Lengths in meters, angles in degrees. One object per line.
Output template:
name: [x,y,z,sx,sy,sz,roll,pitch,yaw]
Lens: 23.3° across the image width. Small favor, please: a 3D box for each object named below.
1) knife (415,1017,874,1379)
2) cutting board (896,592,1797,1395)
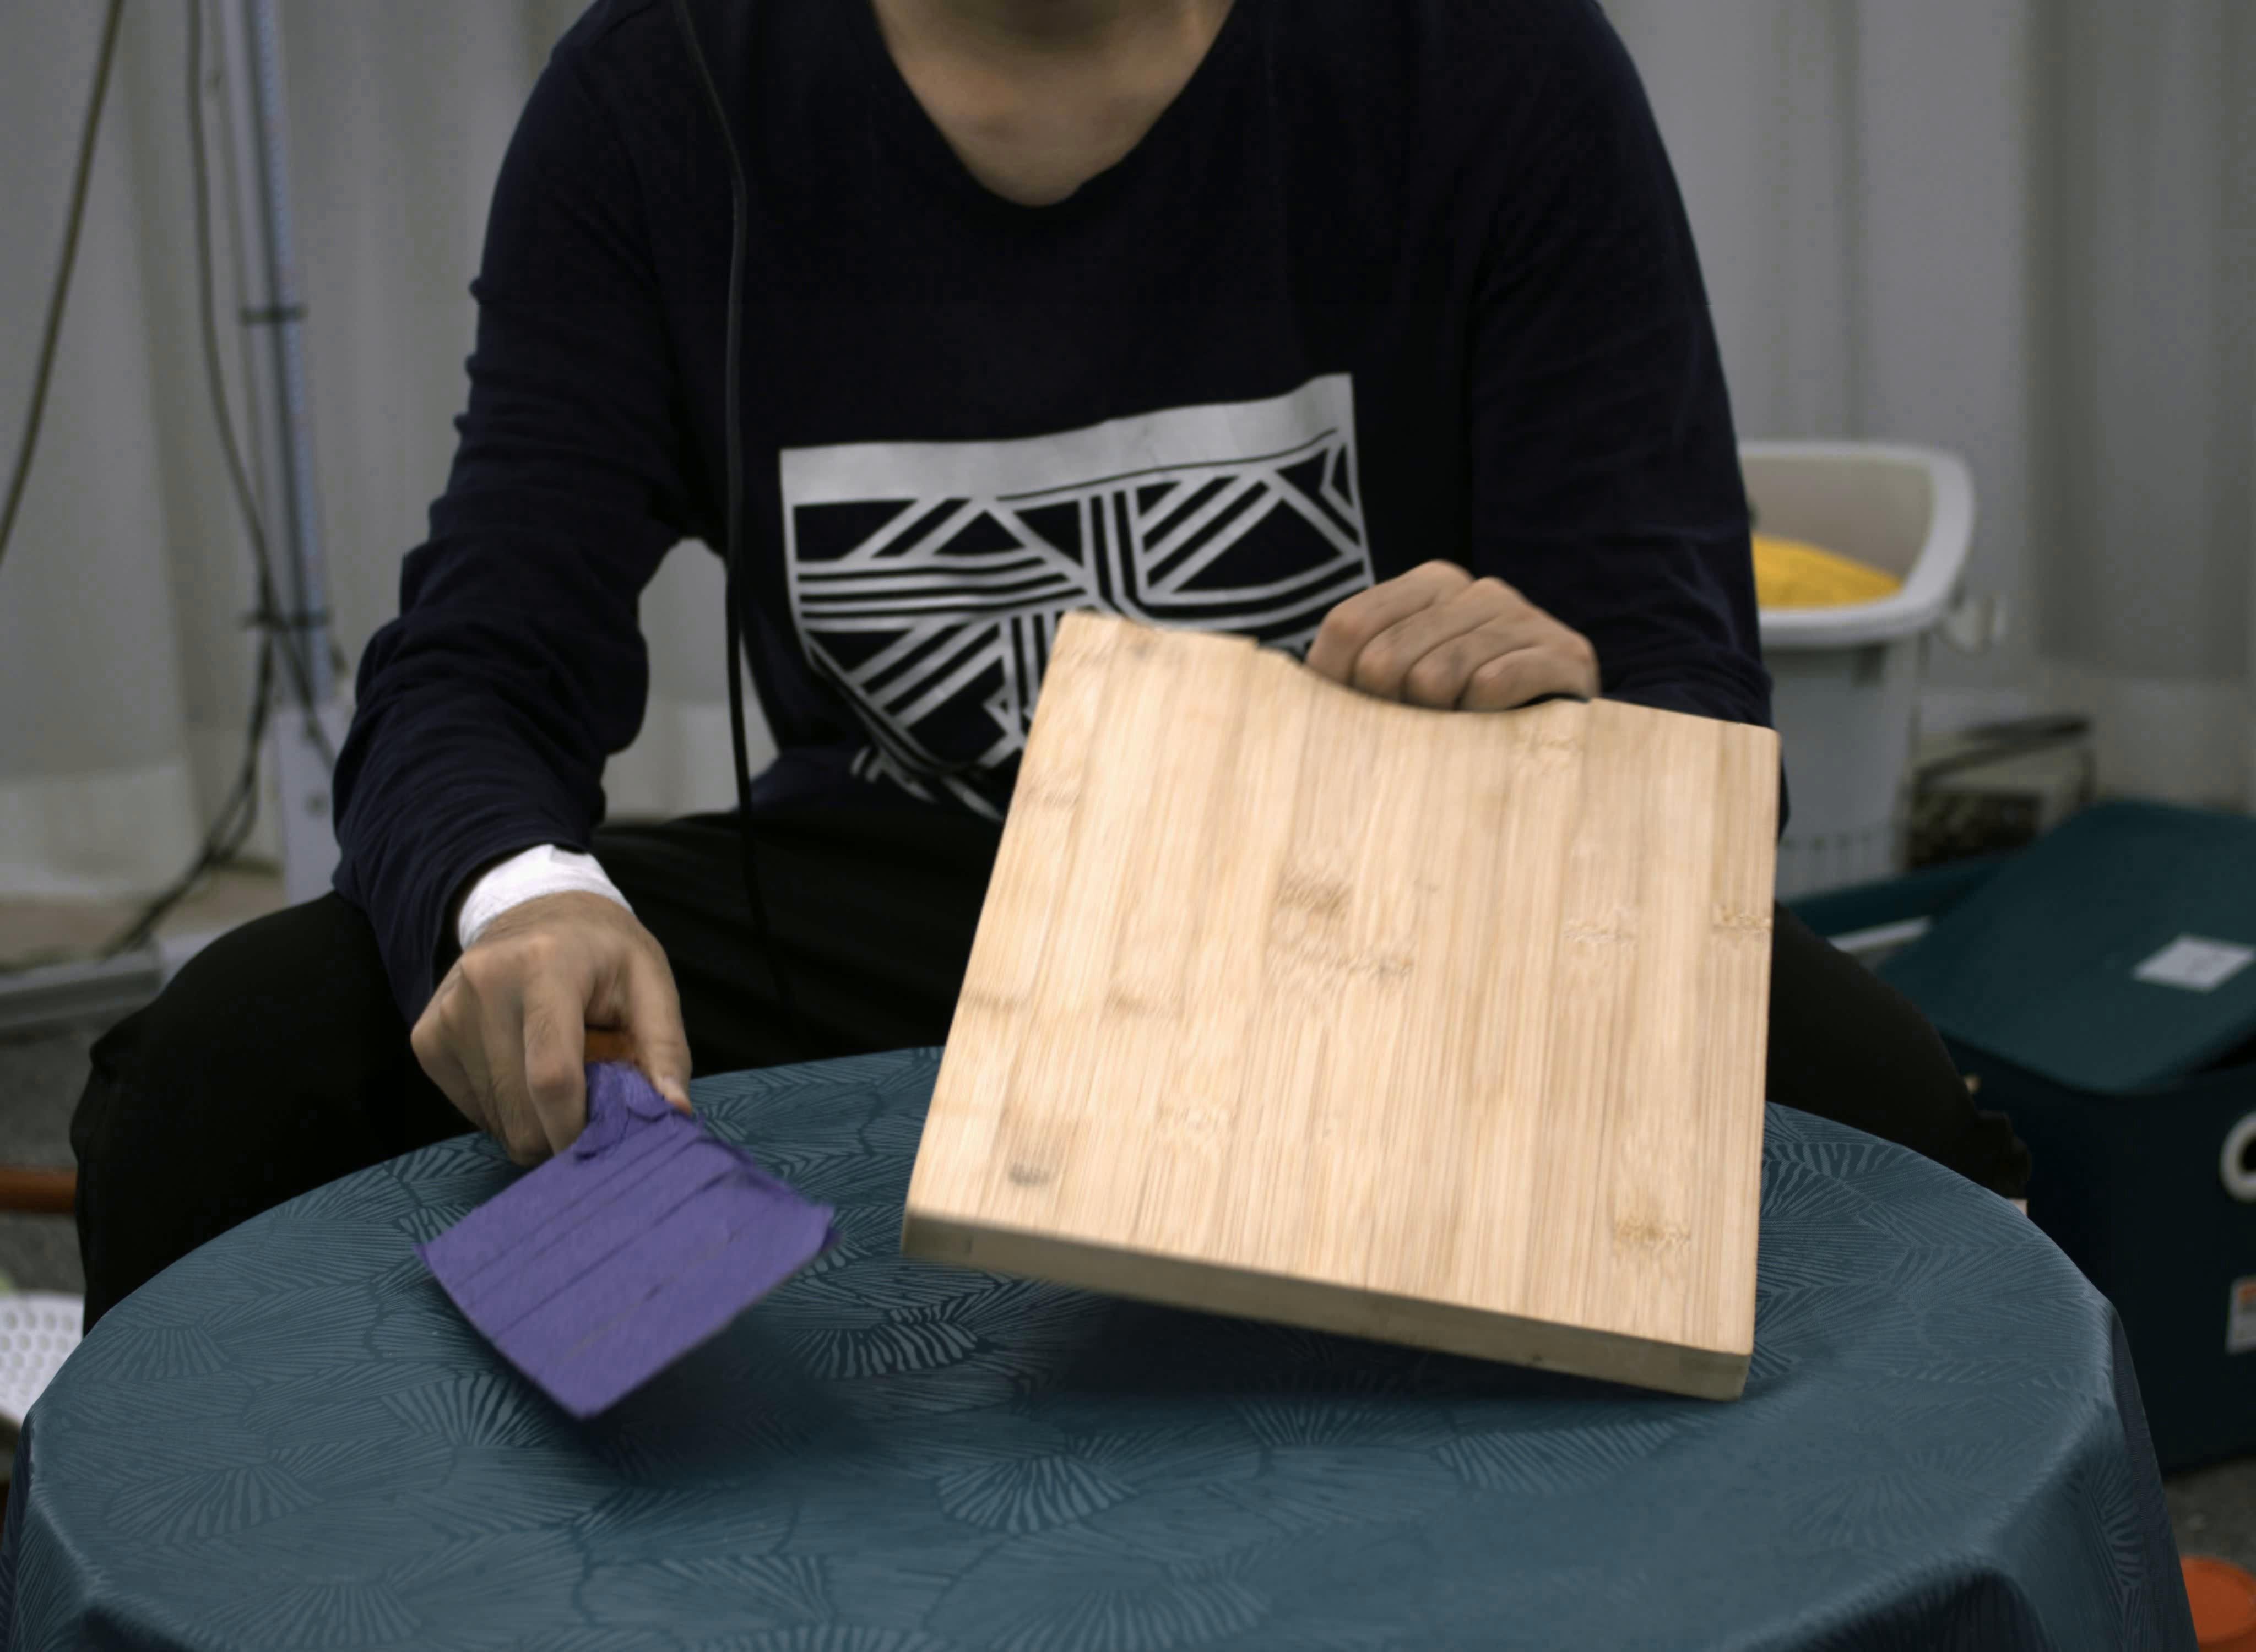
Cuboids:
knife: [-0.165,0.107,1.627,0.104,0.032,0.317,-33,15,-14]
cutting board: [0.077,0.041,1.665,0.250,0.023,0.353,10,32,2]
